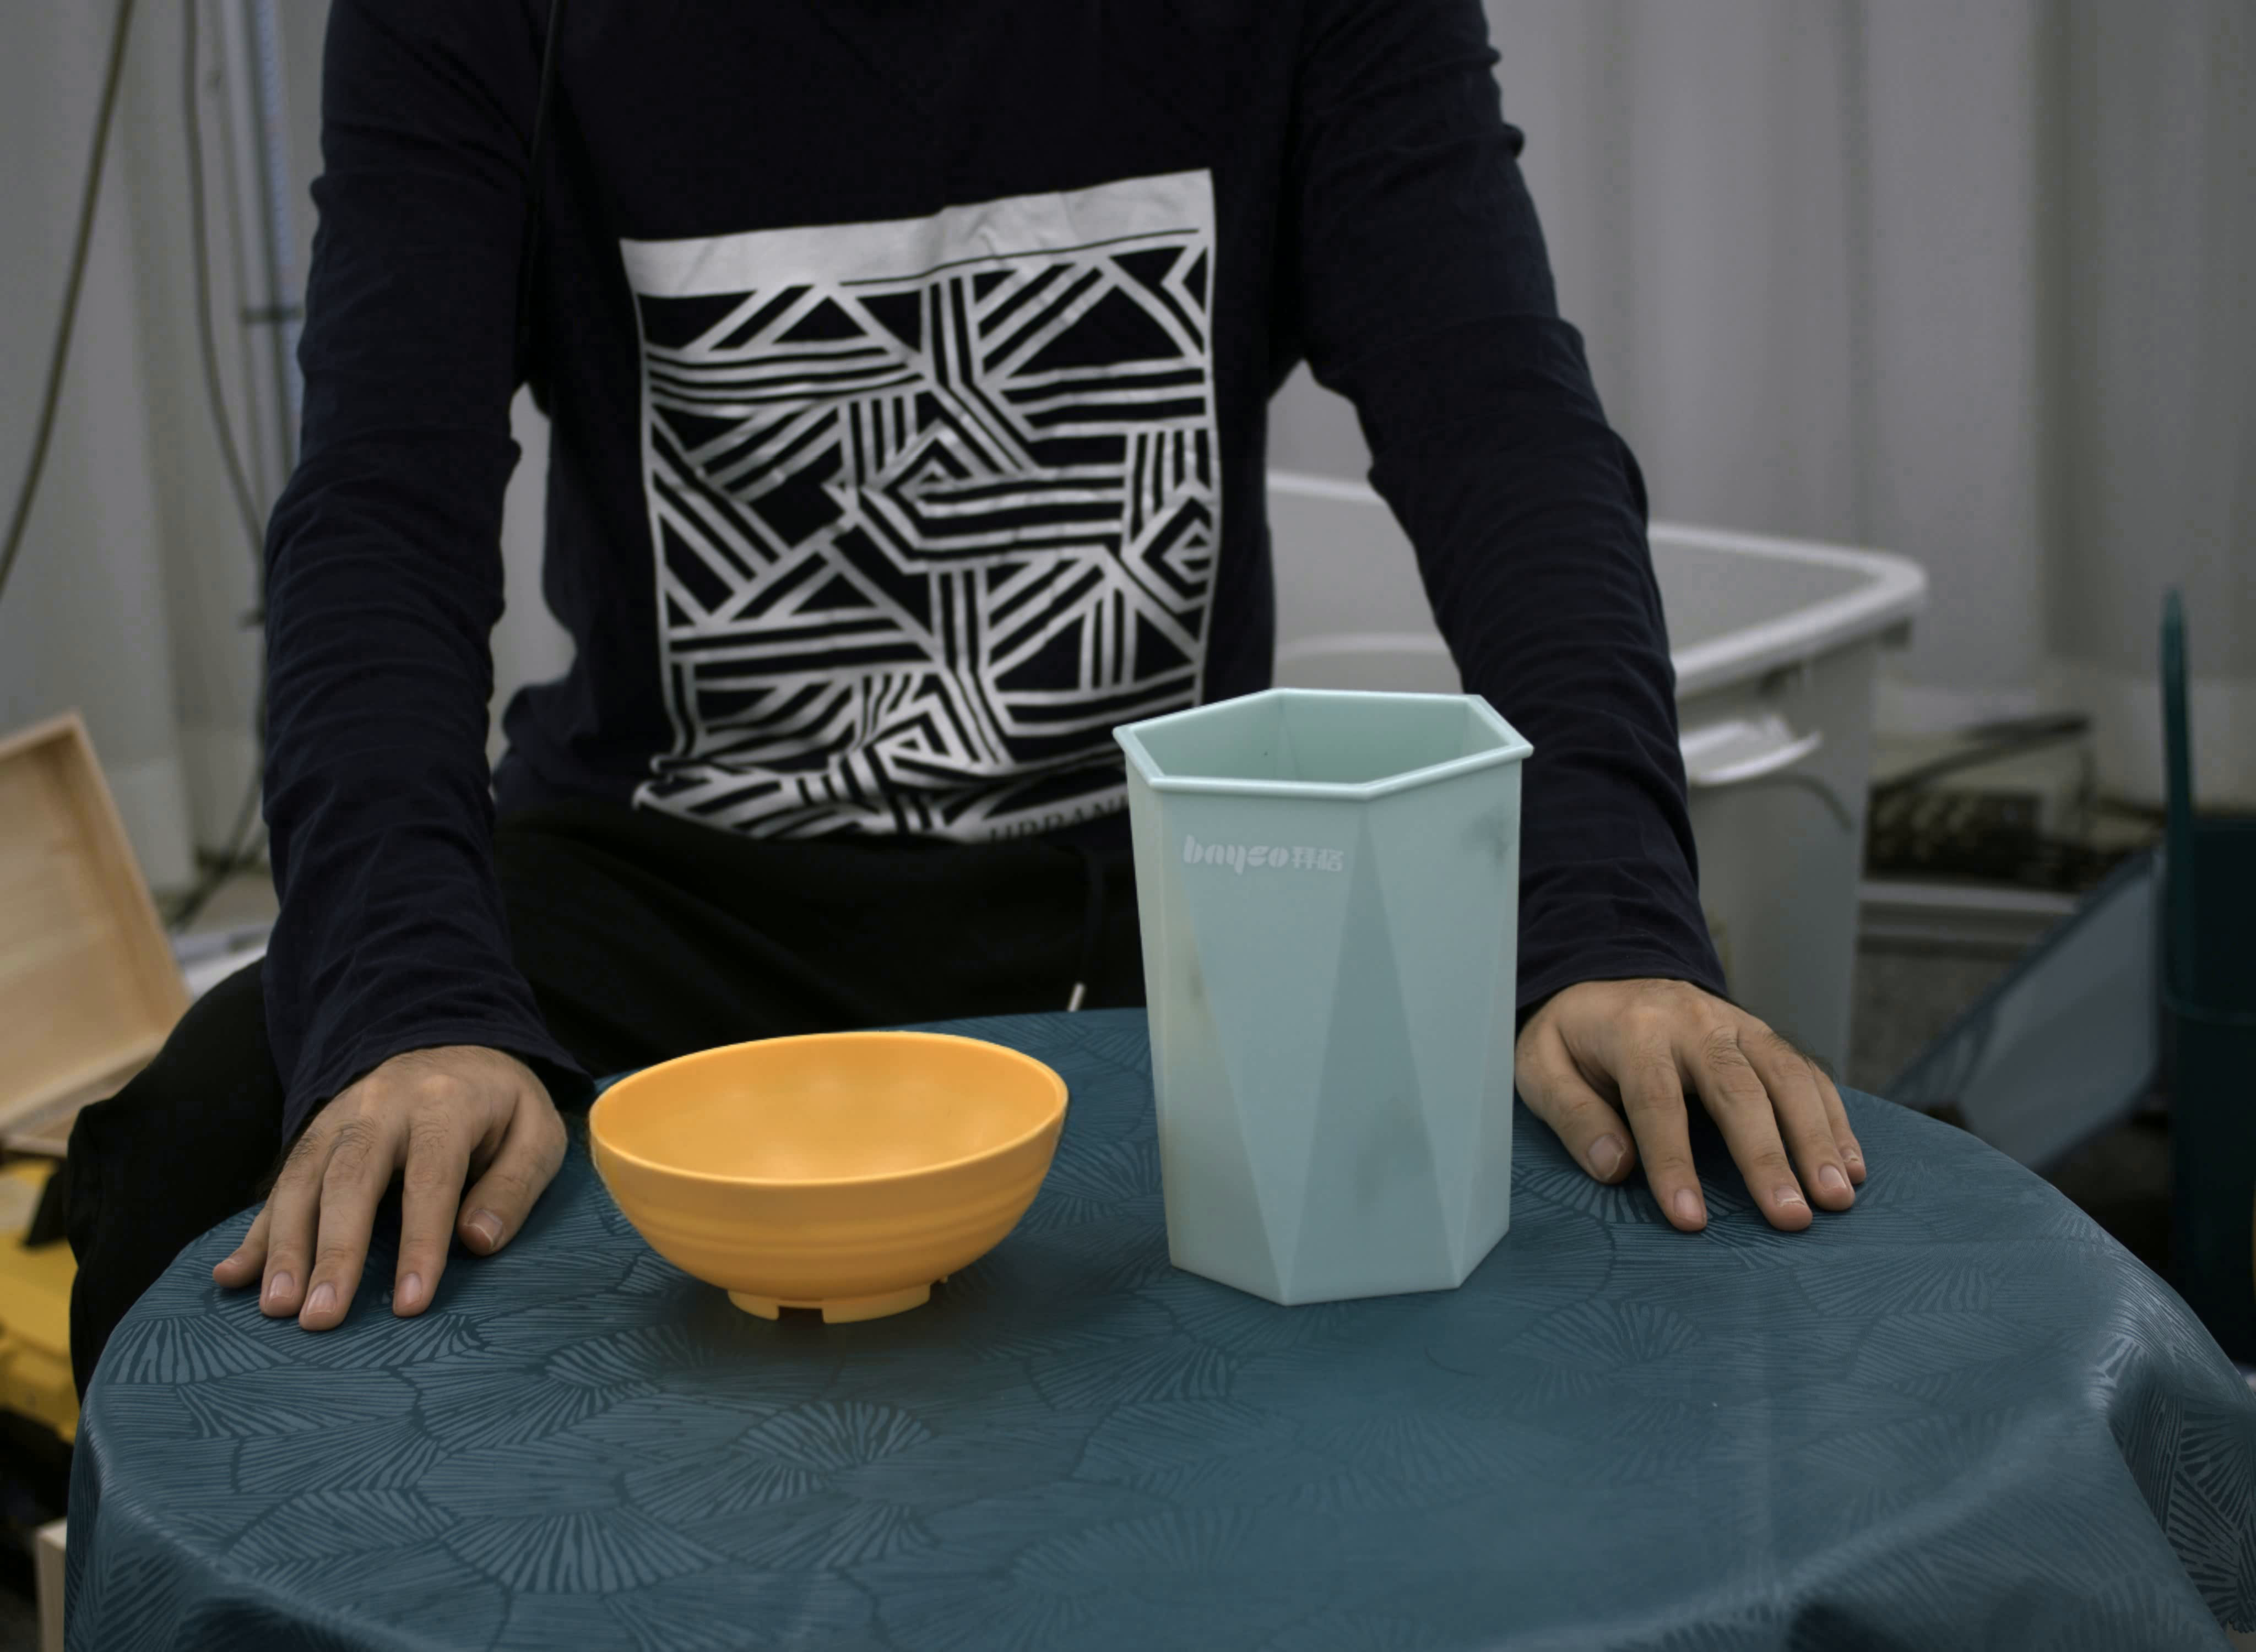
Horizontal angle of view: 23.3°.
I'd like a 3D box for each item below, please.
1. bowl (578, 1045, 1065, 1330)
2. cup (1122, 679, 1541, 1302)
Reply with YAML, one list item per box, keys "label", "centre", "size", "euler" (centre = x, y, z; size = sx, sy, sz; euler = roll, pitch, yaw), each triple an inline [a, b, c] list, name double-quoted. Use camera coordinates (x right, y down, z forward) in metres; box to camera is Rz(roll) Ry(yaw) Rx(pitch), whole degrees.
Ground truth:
- label: "bowl"
  centre: [-0.091, 0.113, 1.637]
  size: [0.145, 0.060, 0.146]
  euler: [-1, 13, 0]
- label: "cup"
  centre: [0.062, 0.049, 1.633]
  size: [0.131, 0.162, 0.115]
  euler: [3, 14, 19]
